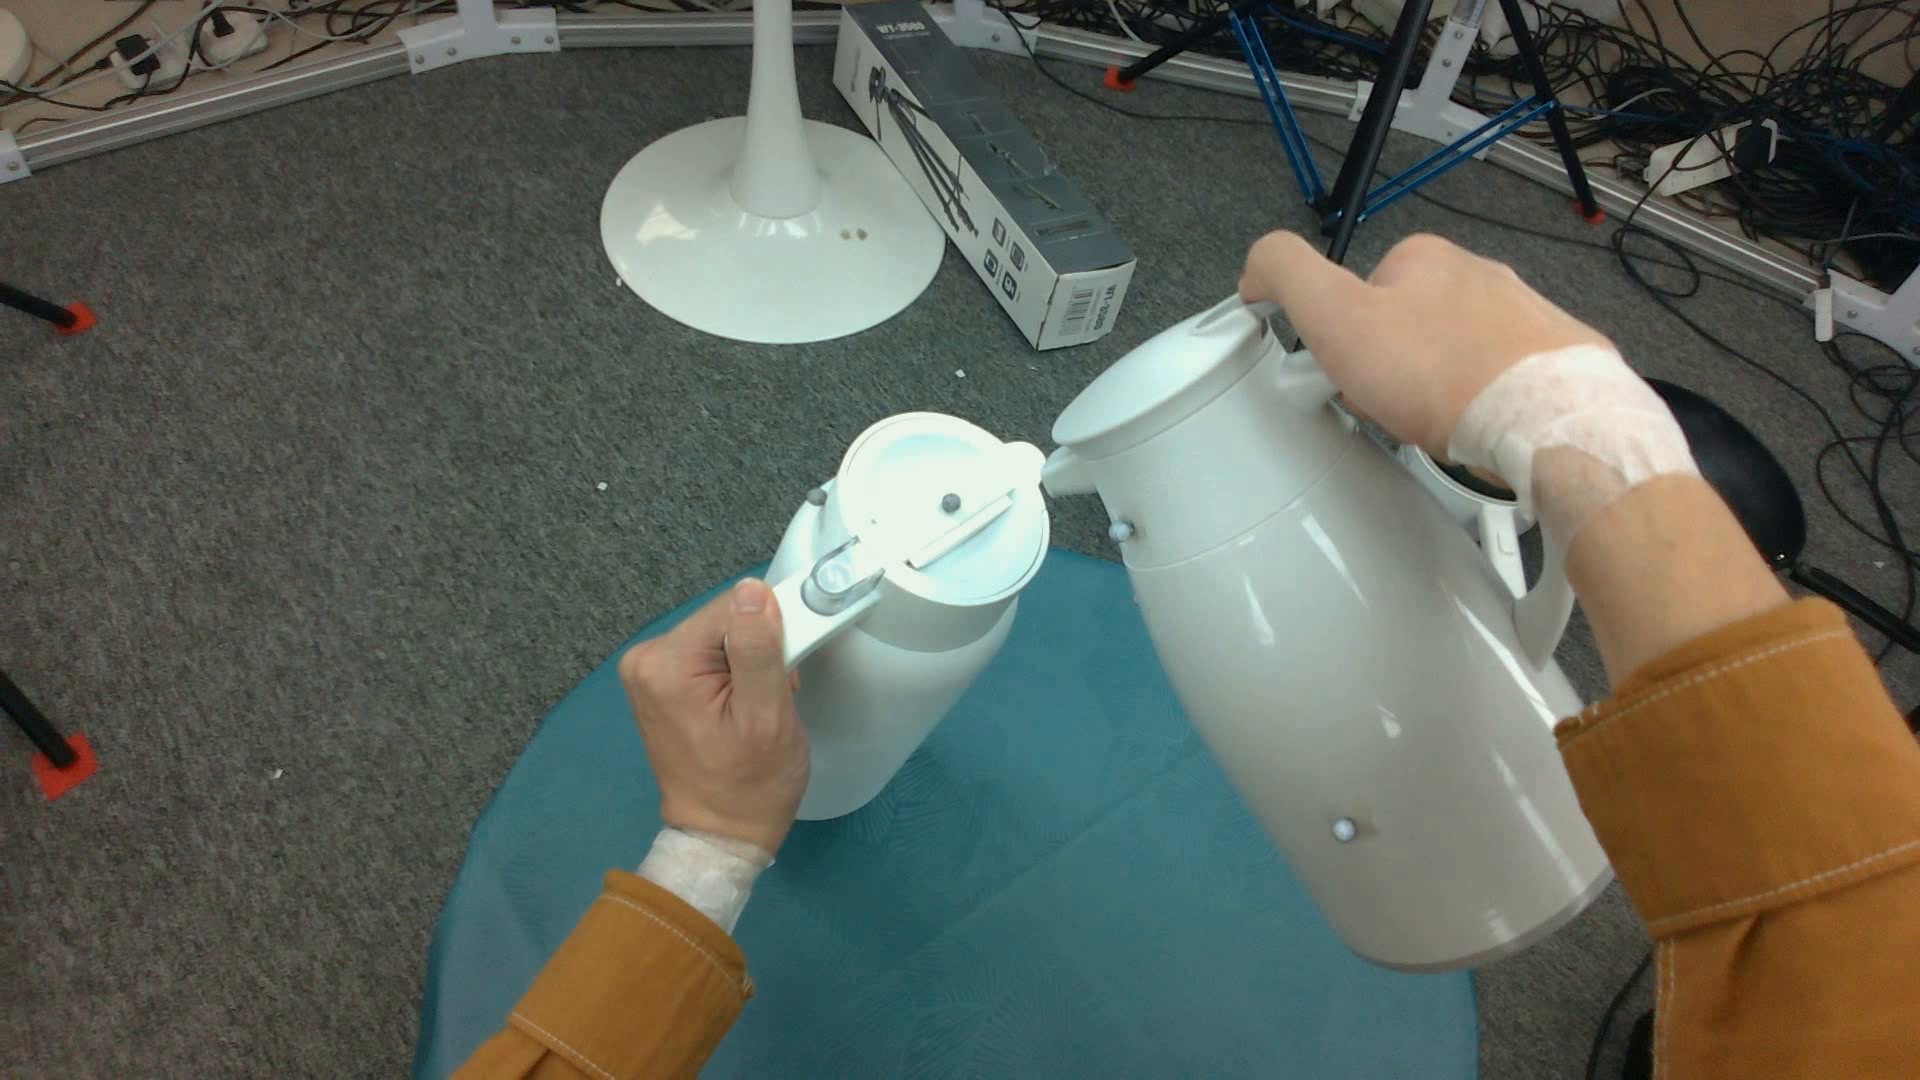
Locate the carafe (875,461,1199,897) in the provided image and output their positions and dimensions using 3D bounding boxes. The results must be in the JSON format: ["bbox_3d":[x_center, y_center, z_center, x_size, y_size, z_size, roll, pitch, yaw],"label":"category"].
[{"bbox_3d":[0.026,0.090,0.691,0.124,0.267,0.173,39,57,14],"label":"carafe"}]

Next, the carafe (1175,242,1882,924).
[{"bbox_3d":[0.209,0.002,0.505,0.248,0.167,0.133,42,36,-6],"label":"carafe"}]
